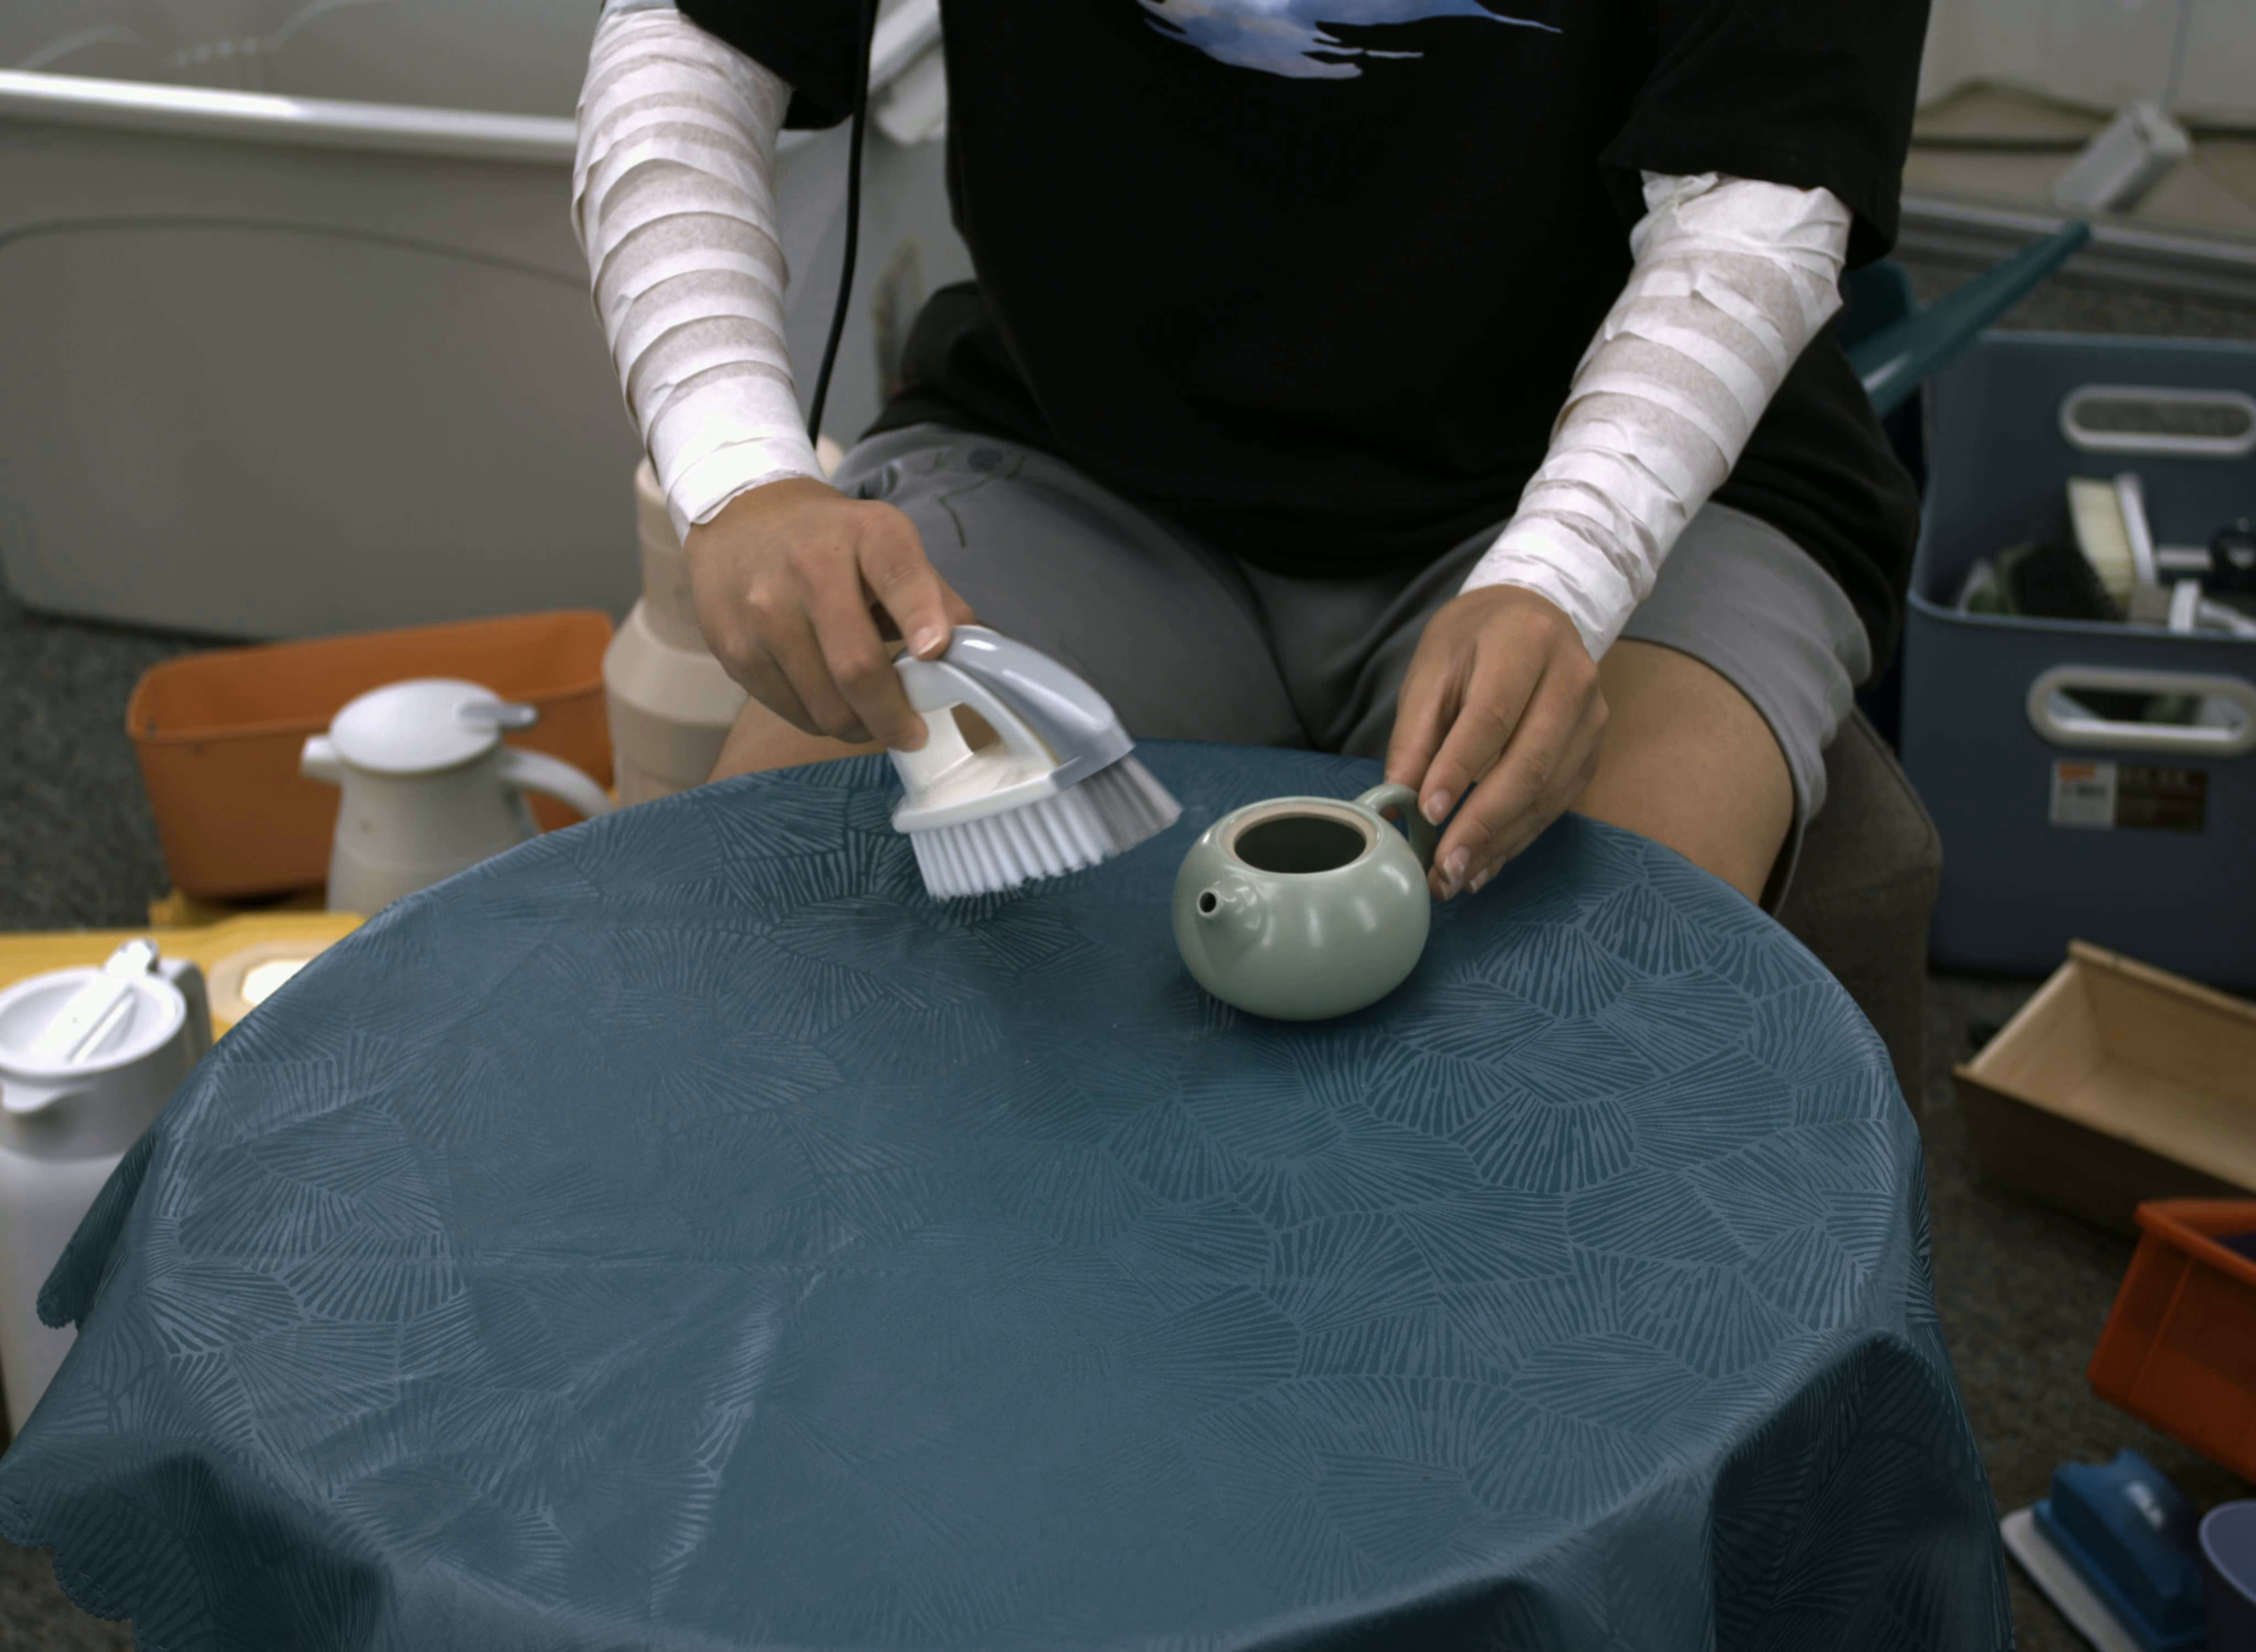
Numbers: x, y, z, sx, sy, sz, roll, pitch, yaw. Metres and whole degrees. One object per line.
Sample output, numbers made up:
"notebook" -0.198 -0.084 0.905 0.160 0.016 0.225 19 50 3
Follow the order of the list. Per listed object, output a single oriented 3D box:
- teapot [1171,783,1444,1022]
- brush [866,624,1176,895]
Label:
"teapot" 0.067 0.026 1.975 0.091 0.060 0.130 19 34 40
"brush" -0.041 -0.030 1.965 0.062 0.094 0.174 -38 12 -20
